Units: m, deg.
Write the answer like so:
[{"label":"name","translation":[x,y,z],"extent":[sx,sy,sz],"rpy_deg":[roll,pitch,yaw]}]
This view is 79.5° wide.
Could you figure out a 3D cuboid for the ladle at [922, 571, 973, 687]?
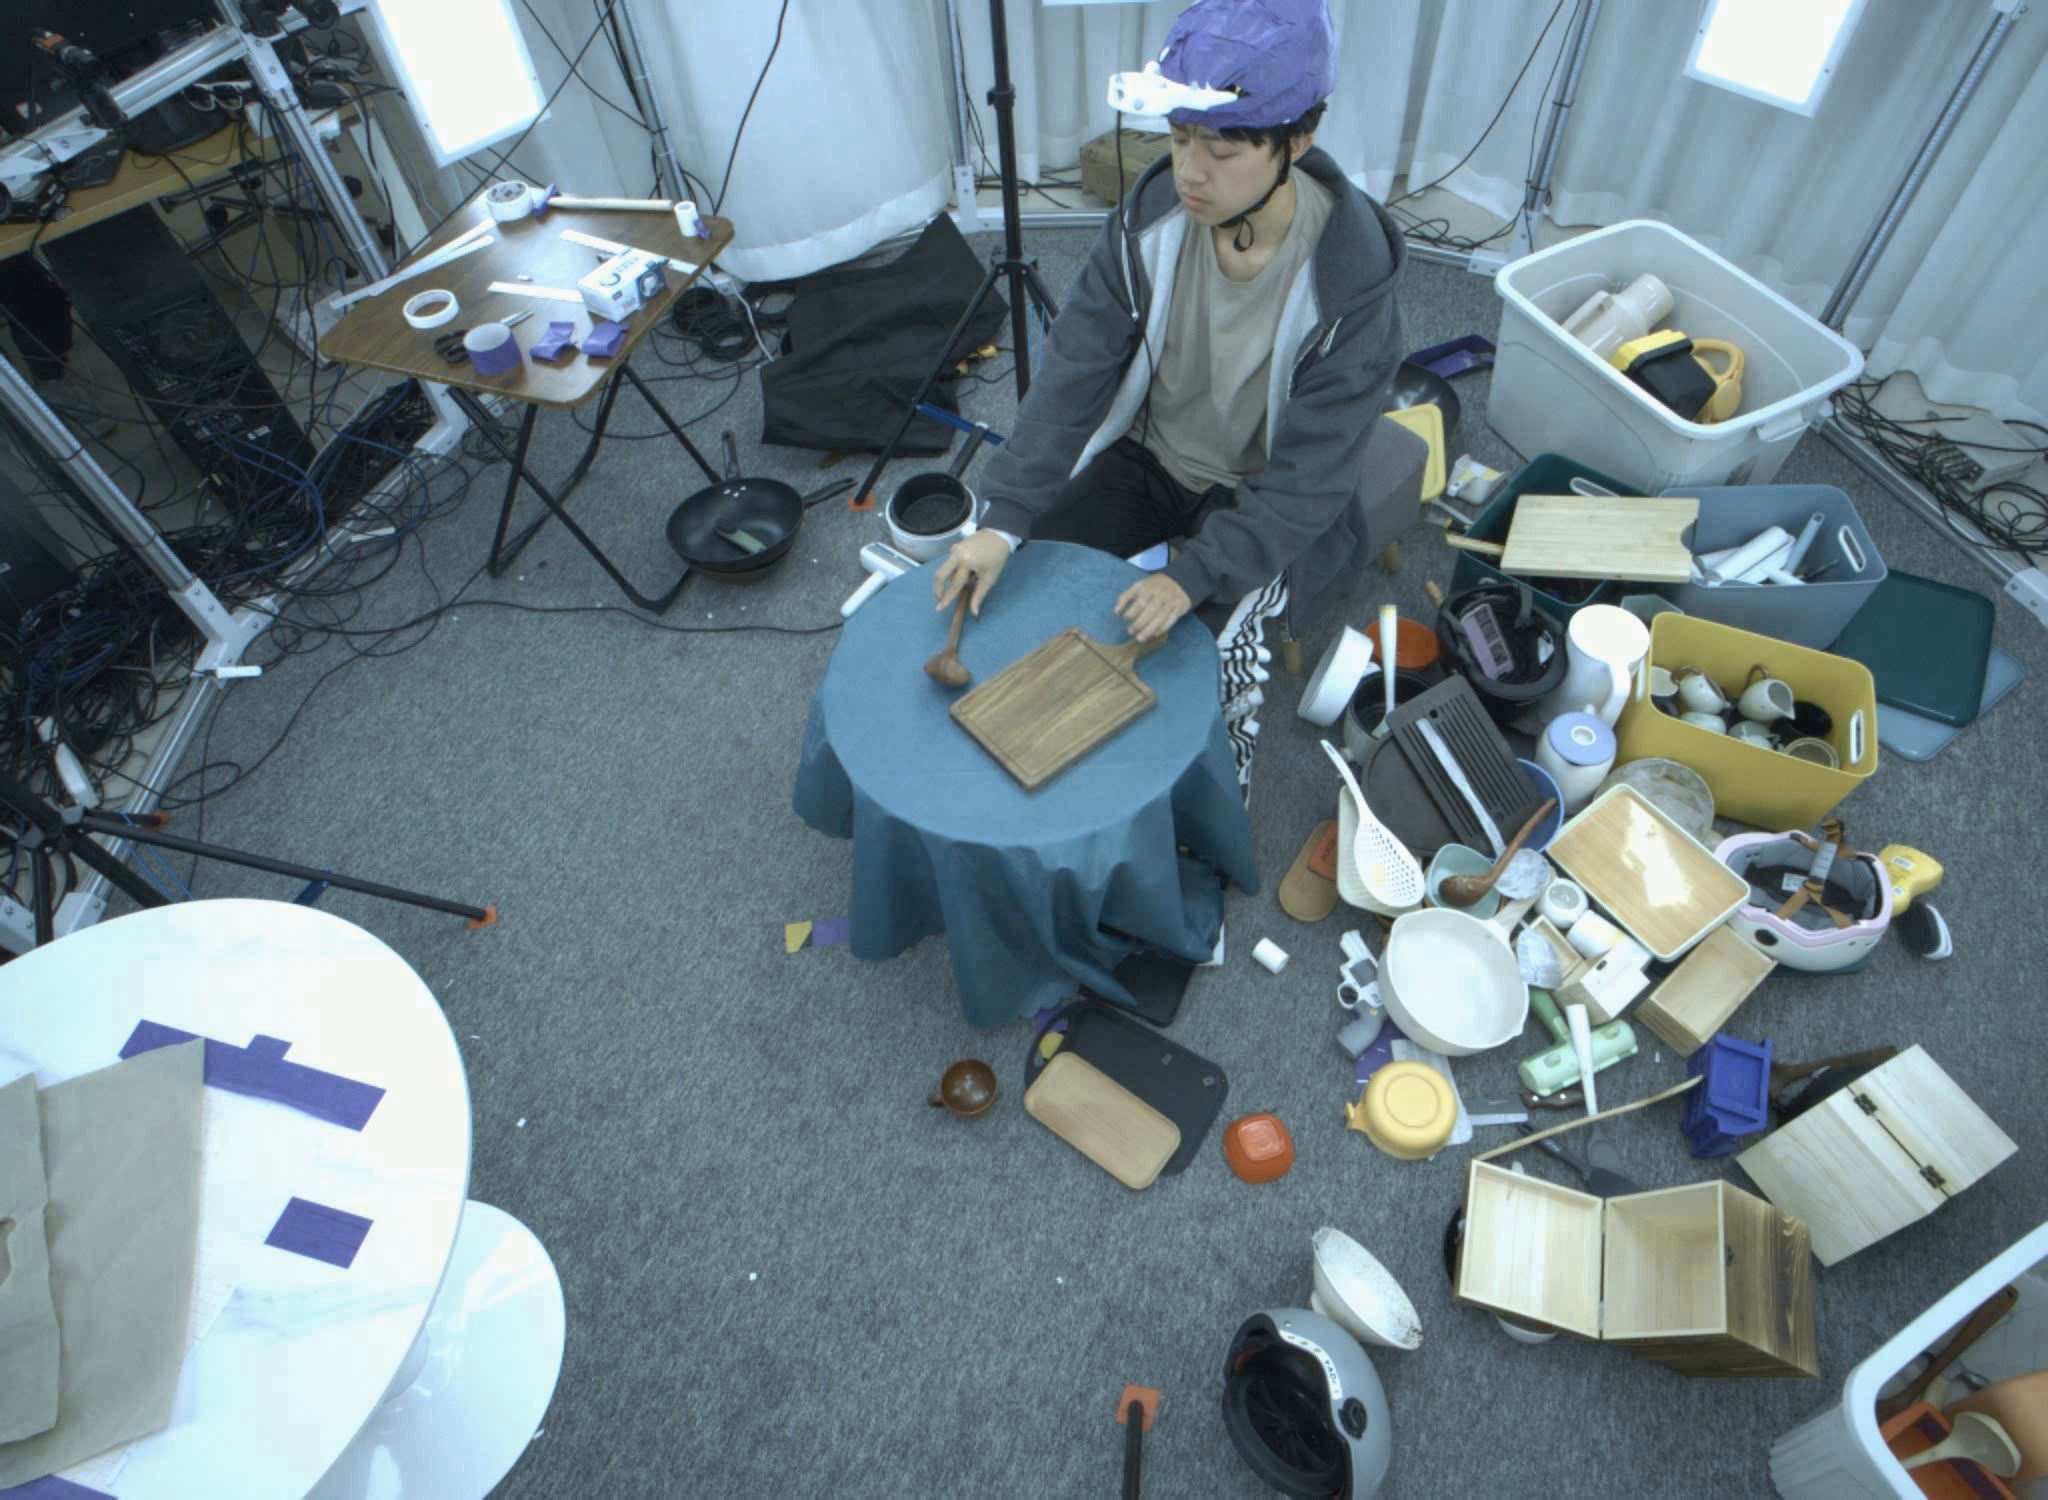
[{"label":"ladle","translation":[-0.103,-0.198,1.895],"extent":[0.077,0.064,0.258],"rpy_deg":[22,53,-16]}]

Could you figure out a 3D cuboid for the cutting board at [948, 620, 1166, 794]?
[{"label":"cutting board","translation":[0.080,-0.093,1.839],"extent":[0.355,0.023,0.197],"rpy_deg":[-36,62,-21]}]
